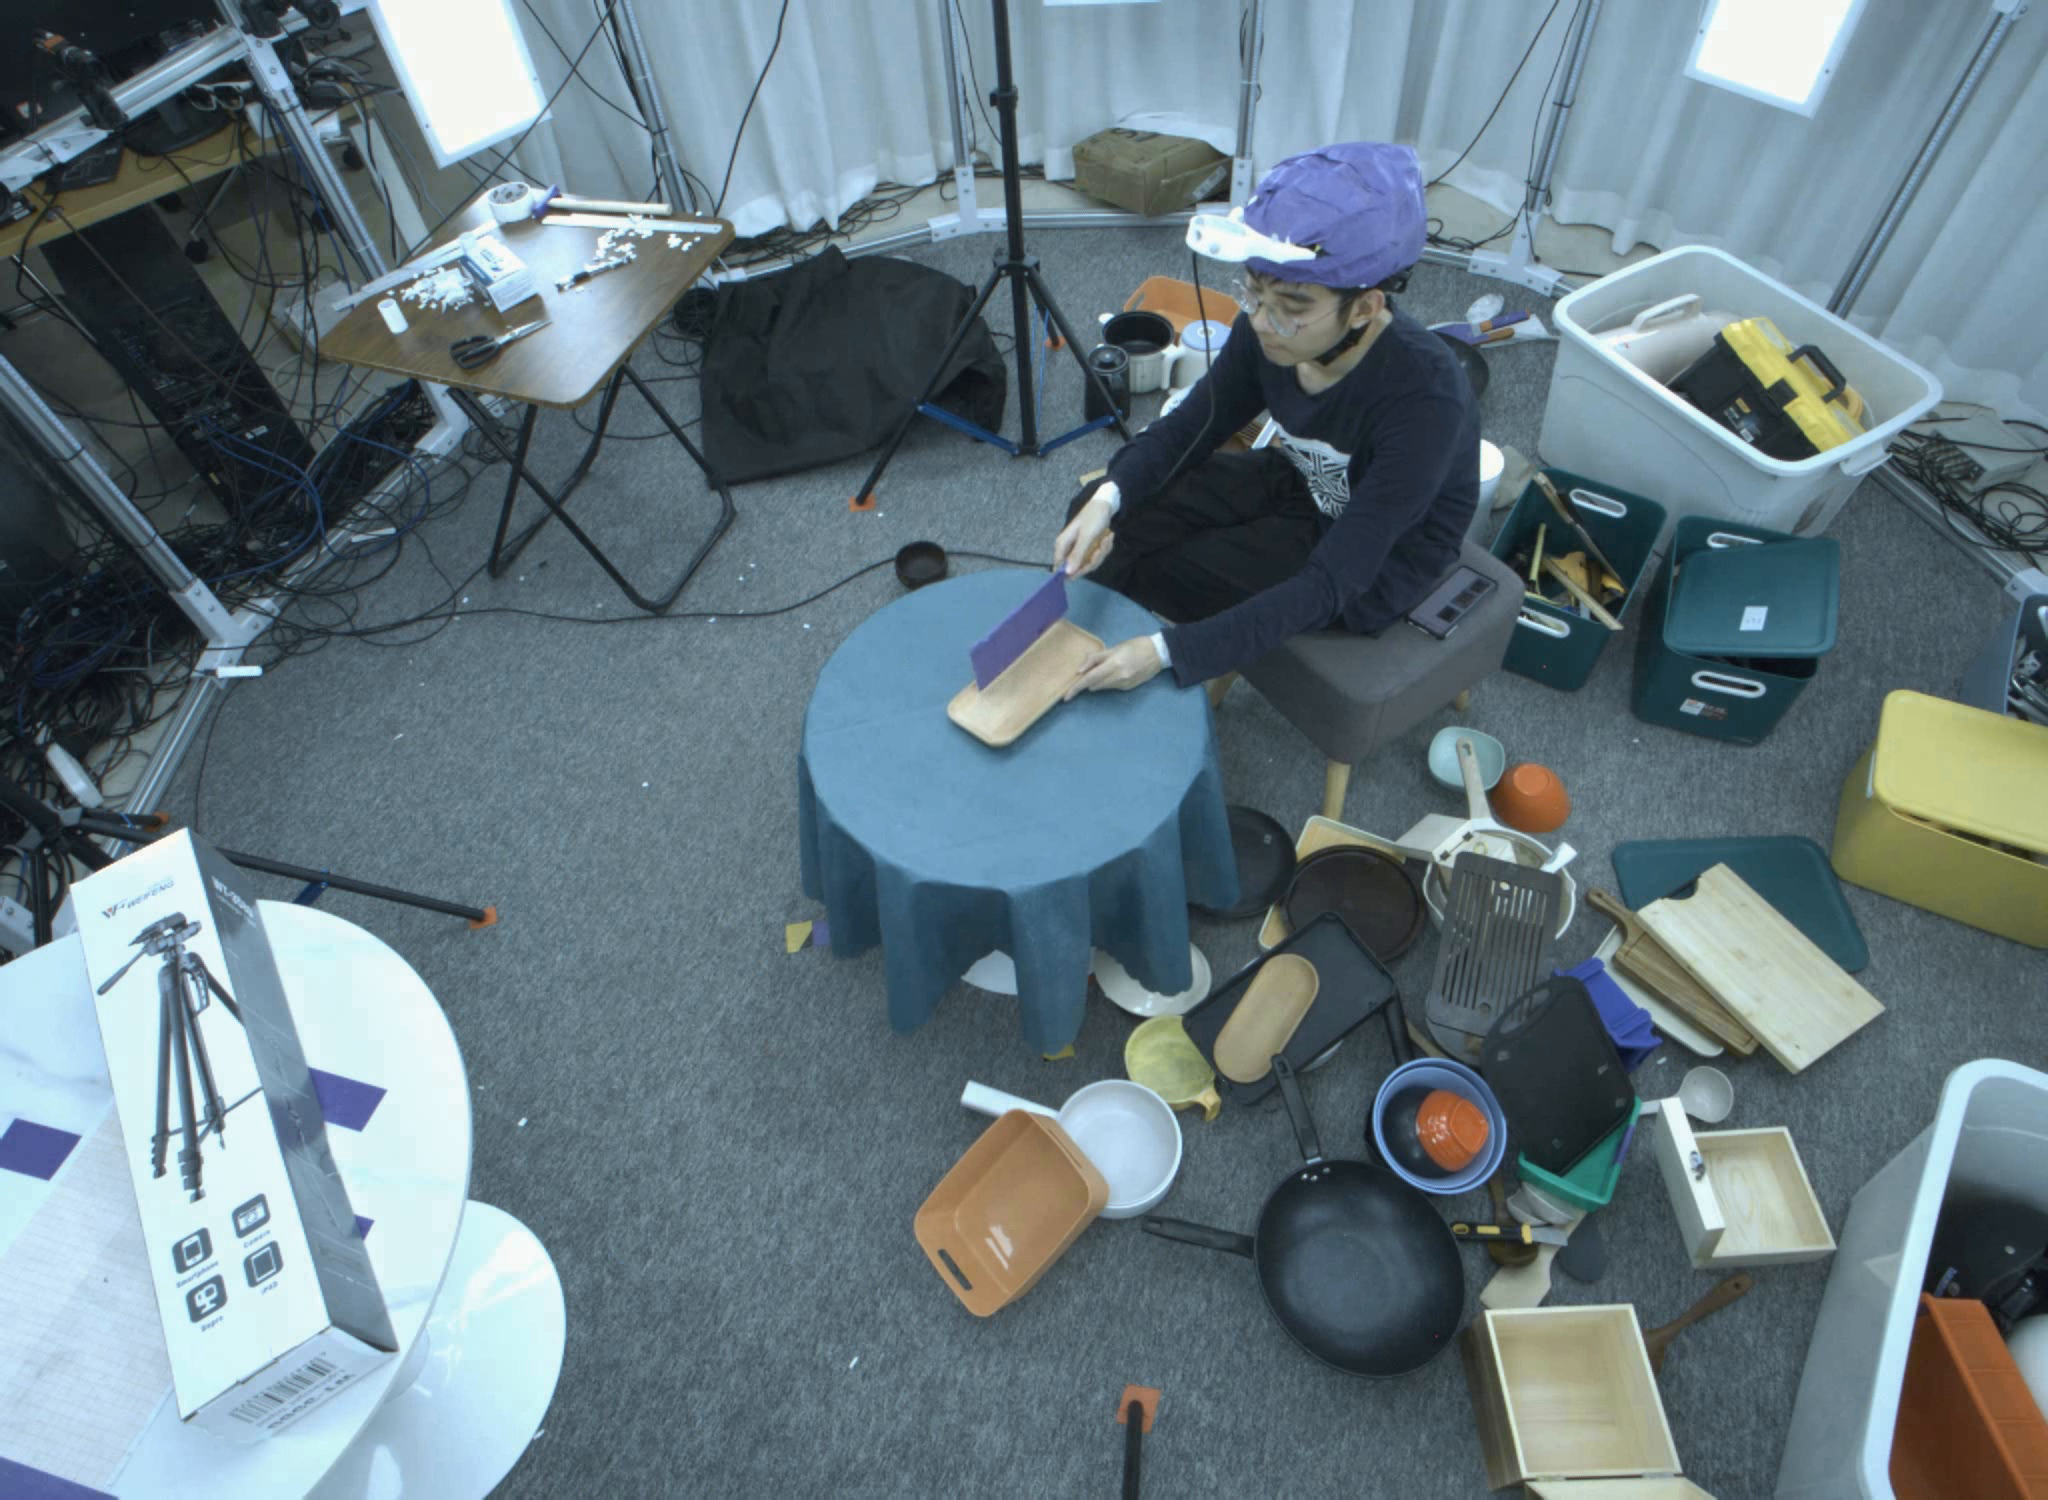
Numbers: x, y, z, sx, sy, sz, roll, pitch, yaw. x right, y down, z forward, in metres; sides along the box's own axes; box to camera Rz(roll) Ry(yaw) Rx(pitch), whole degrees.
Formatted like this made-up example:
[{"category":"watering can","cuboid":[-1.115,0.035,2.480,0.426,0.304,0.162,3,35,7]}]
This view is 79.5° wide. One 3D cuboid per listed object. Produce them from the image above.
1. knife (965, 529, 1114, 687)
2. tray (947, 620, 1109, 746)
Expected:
[{"category":"knife","cuboid":[0.025,-0.216,1.866,0.031,0.105,0.317,35,65,29]},{"category":"tray","cuboid":[0.007,-0.103,1.847,0.252,0.023,0.128,-39,57,-23]}]
